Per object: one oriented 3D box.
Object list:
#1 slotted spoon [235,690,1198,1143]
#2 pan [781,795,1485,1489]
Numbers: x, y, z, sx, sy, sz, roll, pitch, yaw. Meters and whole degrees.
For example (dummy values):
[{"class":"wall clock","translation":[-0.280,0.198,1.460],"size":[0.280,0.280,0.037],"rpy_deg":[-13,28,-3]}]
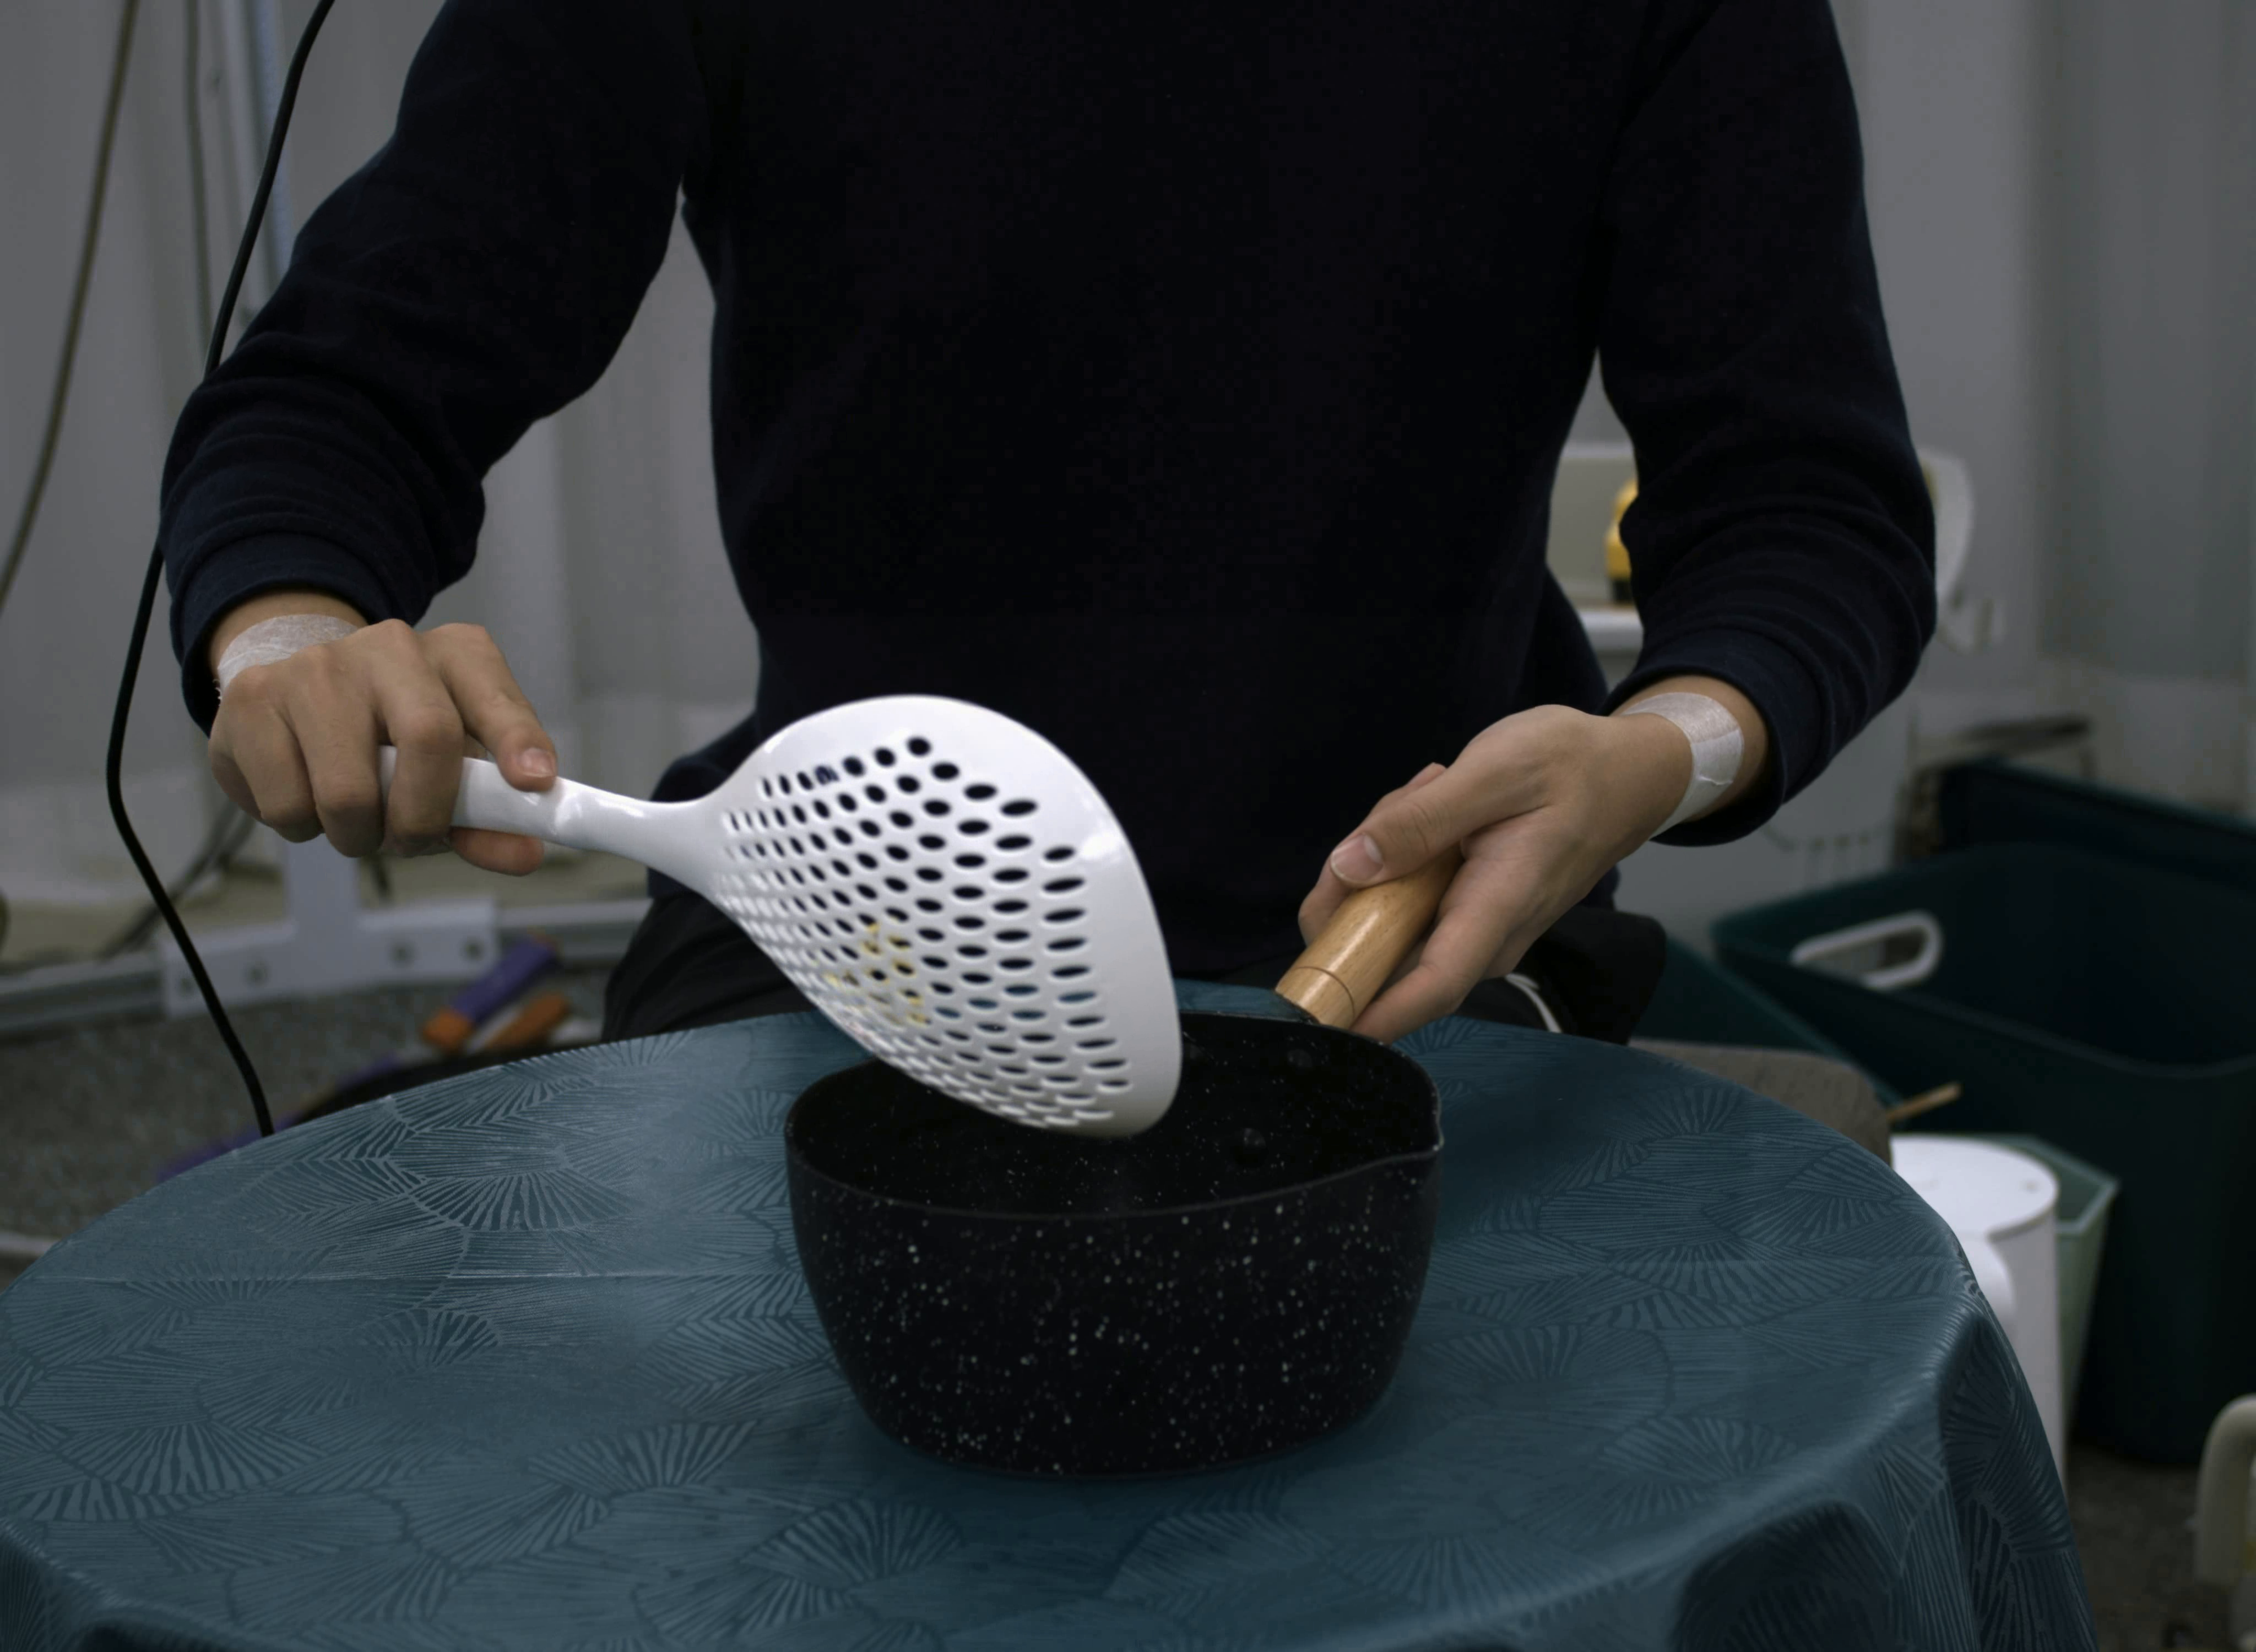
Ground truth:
[{"class":"slotted spoon","translation":[-0.124,0.010,1.531],"size":[0.350,0.135,0.050],"rpy_deg":[17,39,42]},{"class":"pan","translation":[0.030,0.087,1.605],"size":[0.208,0.108,0.344],"rpy_deg":[3,17,25]}]
